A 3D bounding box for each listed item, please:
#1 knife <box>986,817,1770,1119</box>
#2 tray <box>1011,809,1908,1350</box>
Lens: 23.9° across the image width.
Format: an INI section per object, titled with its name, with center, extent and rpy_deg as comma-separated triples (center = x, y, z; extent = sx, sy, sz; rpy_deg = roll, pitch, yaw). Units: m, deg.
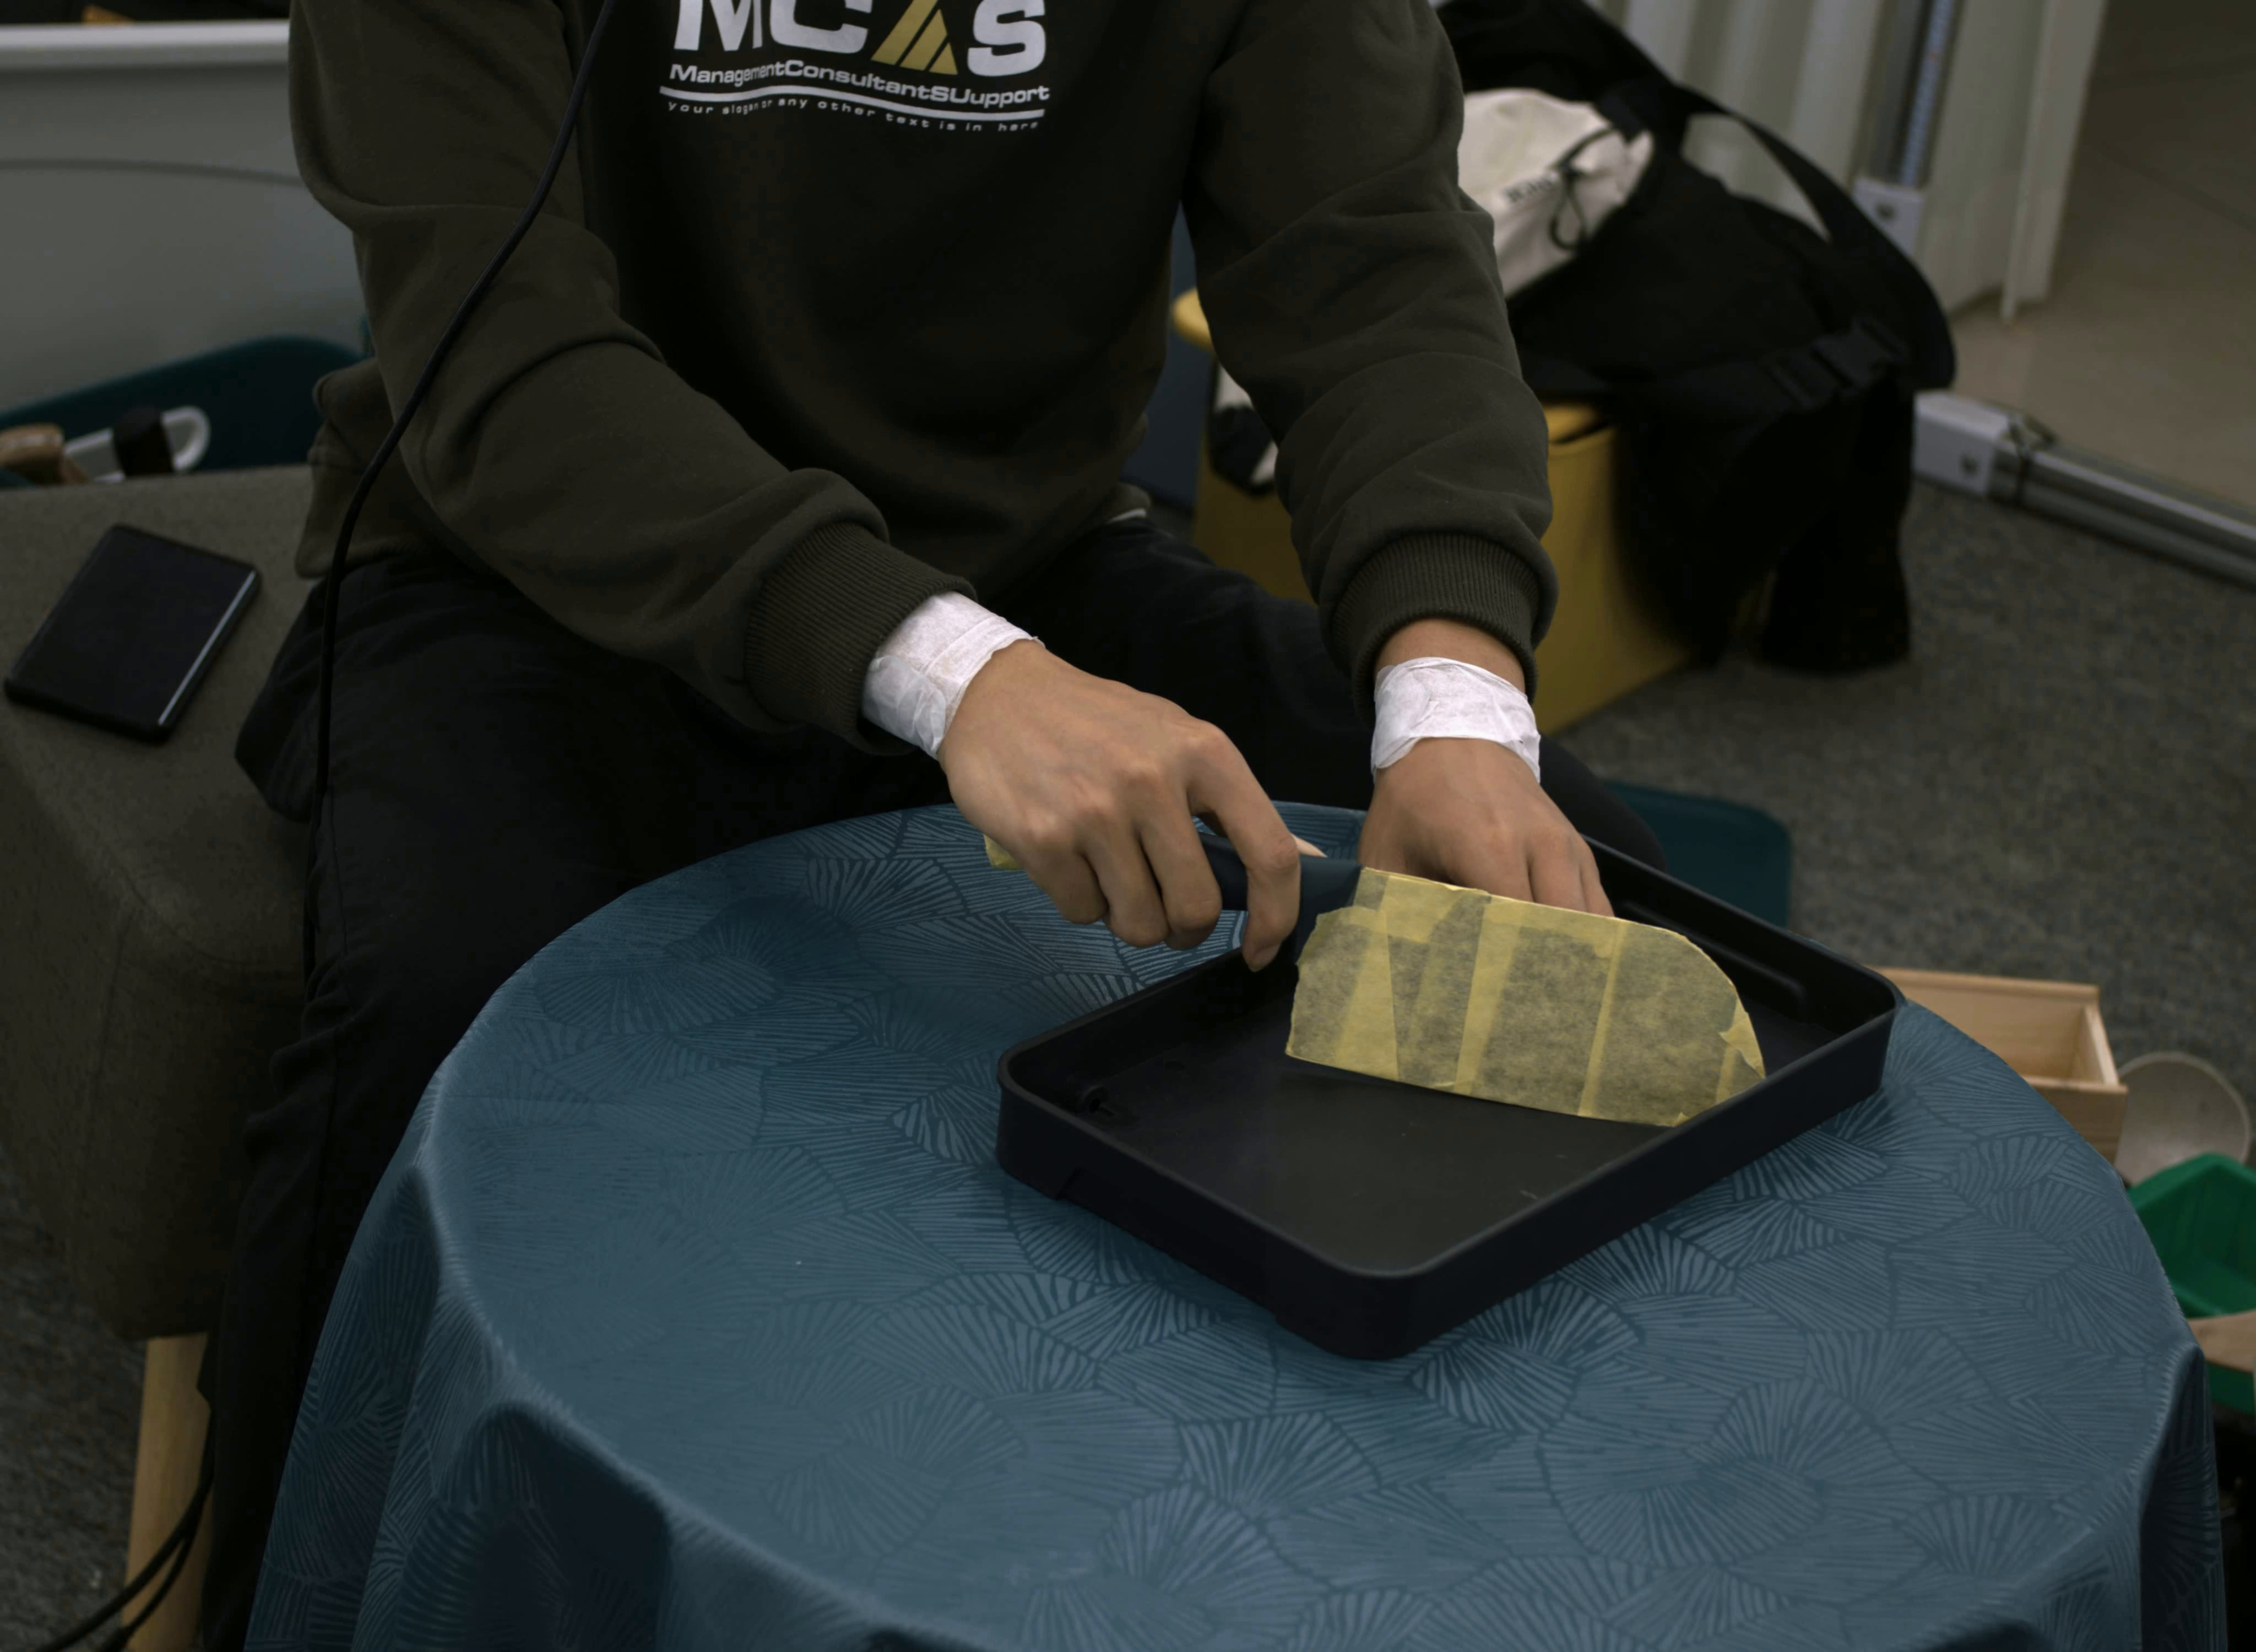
[knife]
center = 0.086, 0.049, 1.878
extent = 0.289, 0.081, 0.027
rpy_deg = 14, 5, 6
[tray]
center = 0.119, 0.082, 1.869
extent = 0.185, 0.037, 0.316
rpy_deg = 26, 32, 32
